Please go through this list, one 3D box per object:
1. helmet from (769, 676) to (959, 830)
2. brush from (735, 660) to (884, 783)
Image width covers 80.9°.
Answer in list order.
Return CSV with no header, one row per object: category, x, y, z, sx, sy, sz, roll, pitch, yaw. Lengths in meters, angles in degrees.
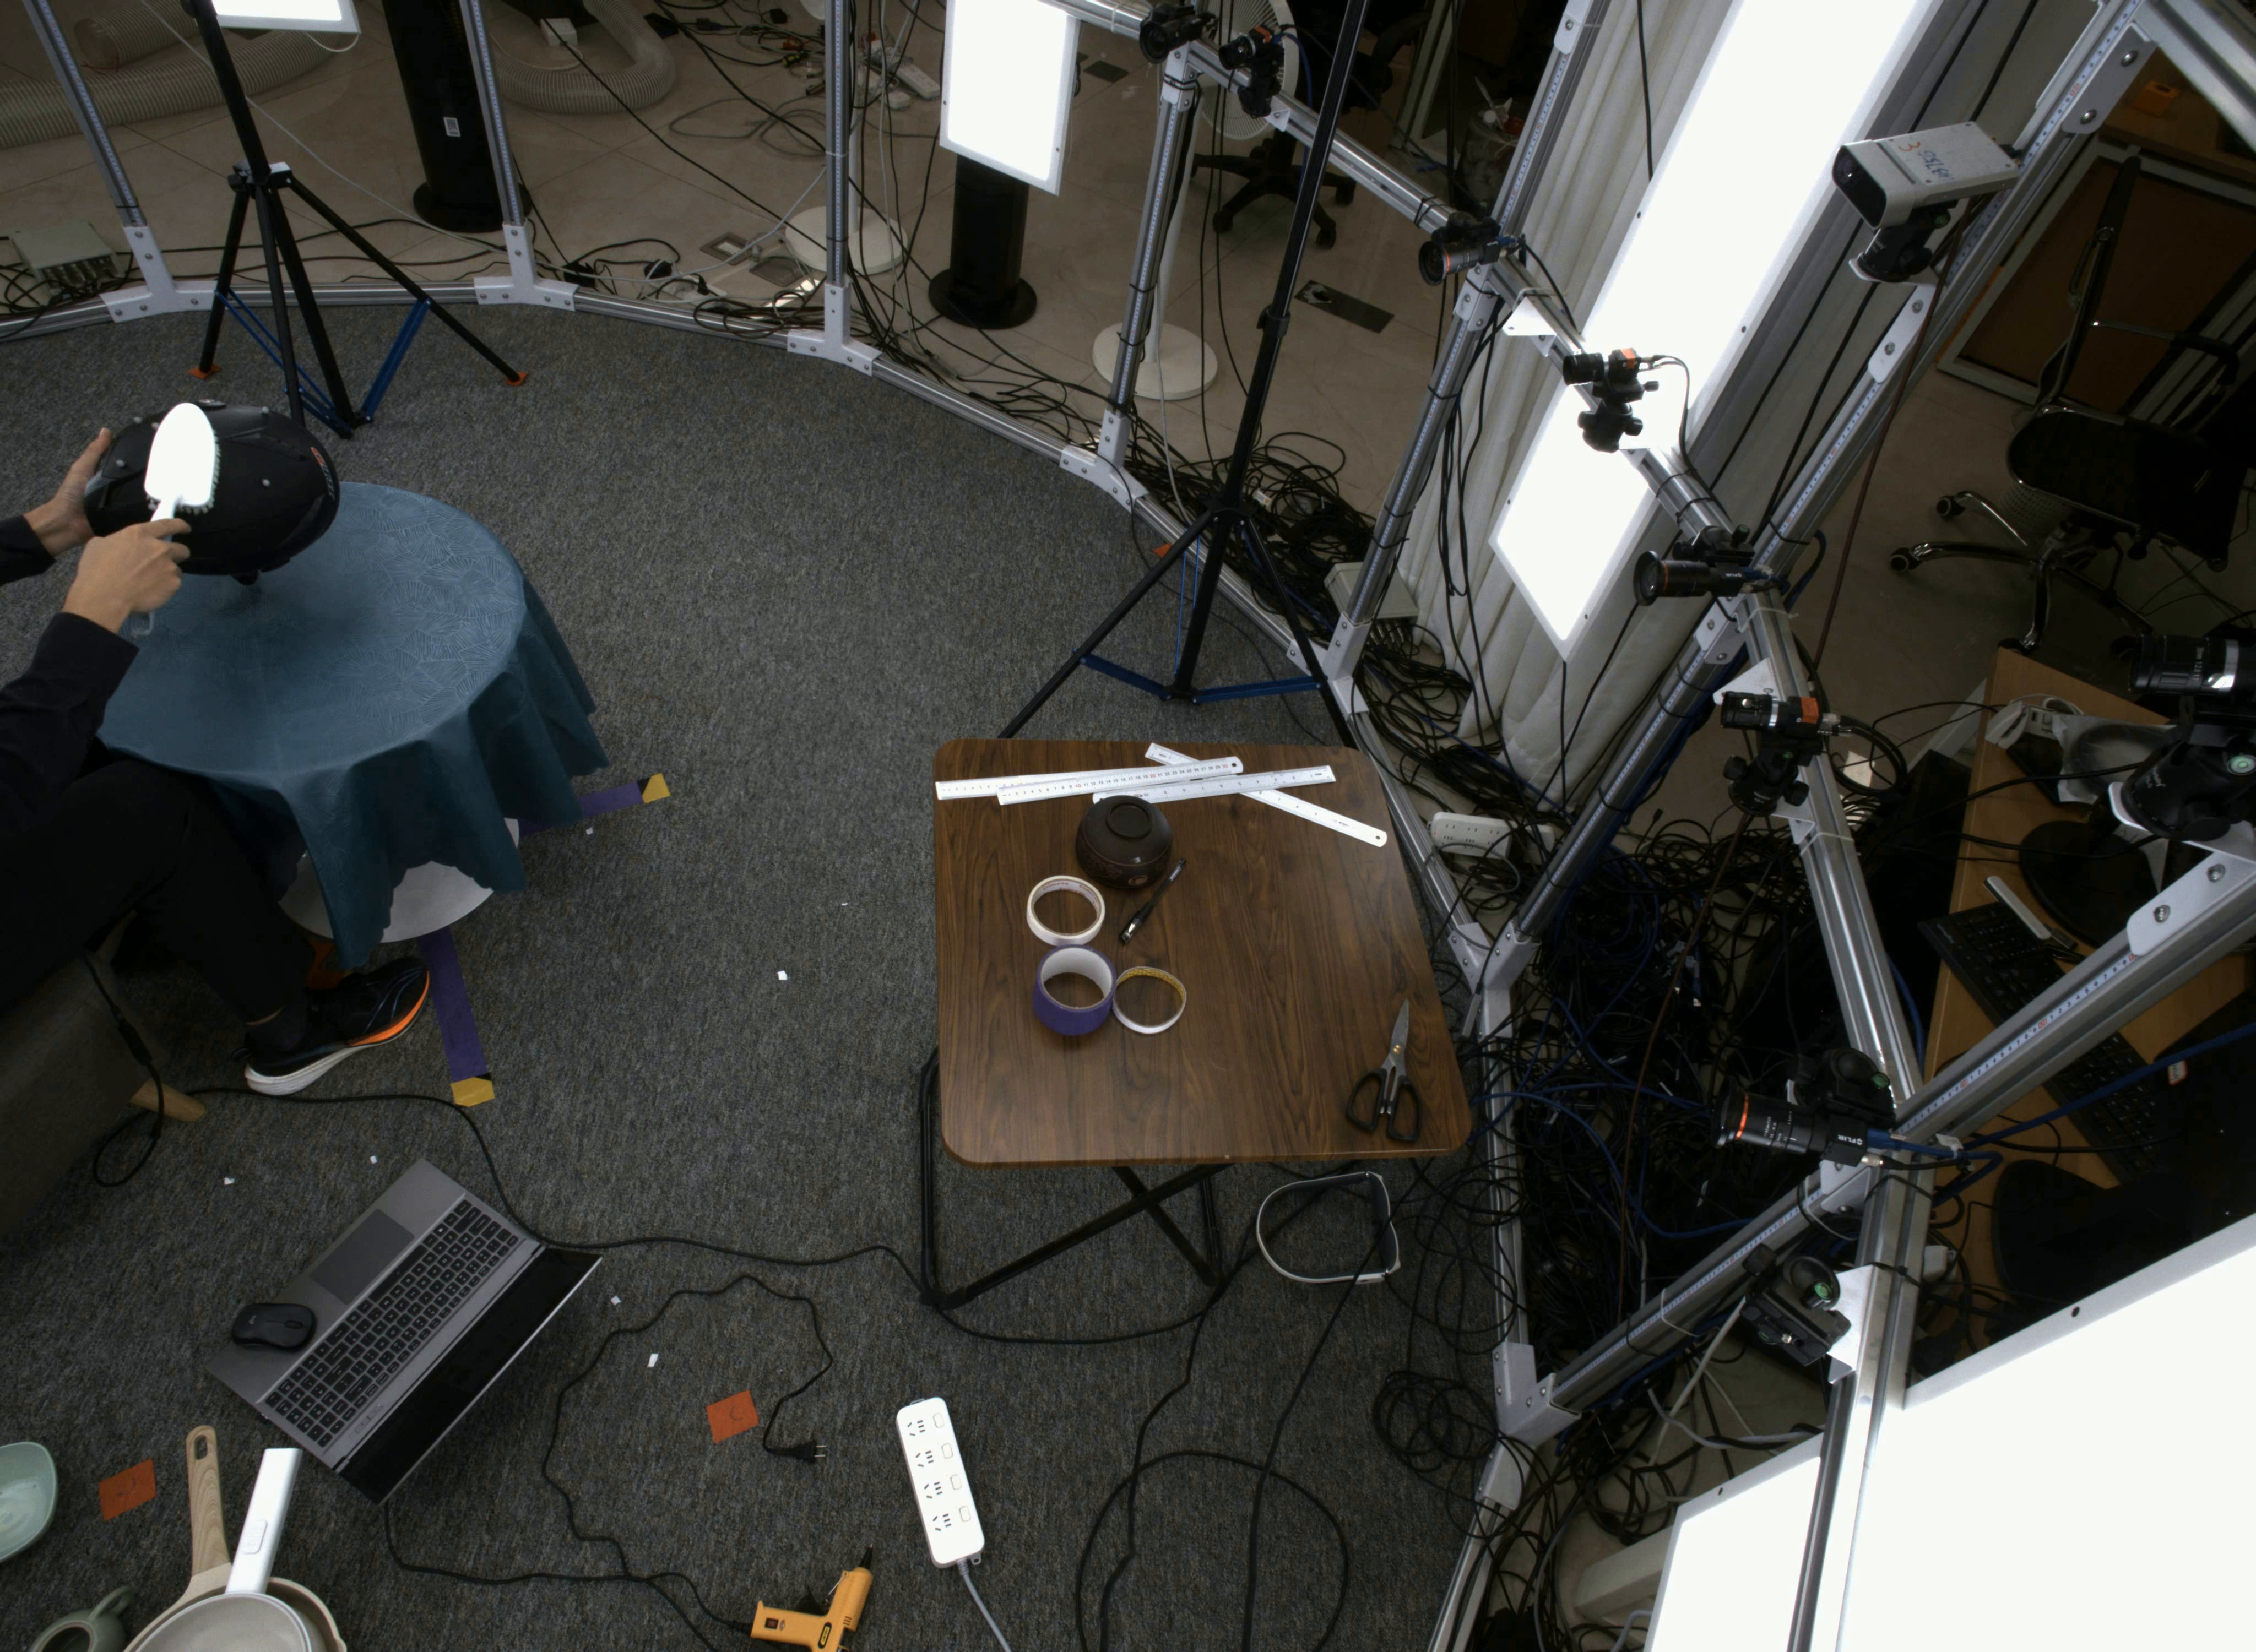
helmet,-0.408,-0.121,2.011,0.274,0.249,0.173,6,-4,-1
brush,-0.458,-0.134,1.860,0.080,0.087,0.324,-4,32,34
